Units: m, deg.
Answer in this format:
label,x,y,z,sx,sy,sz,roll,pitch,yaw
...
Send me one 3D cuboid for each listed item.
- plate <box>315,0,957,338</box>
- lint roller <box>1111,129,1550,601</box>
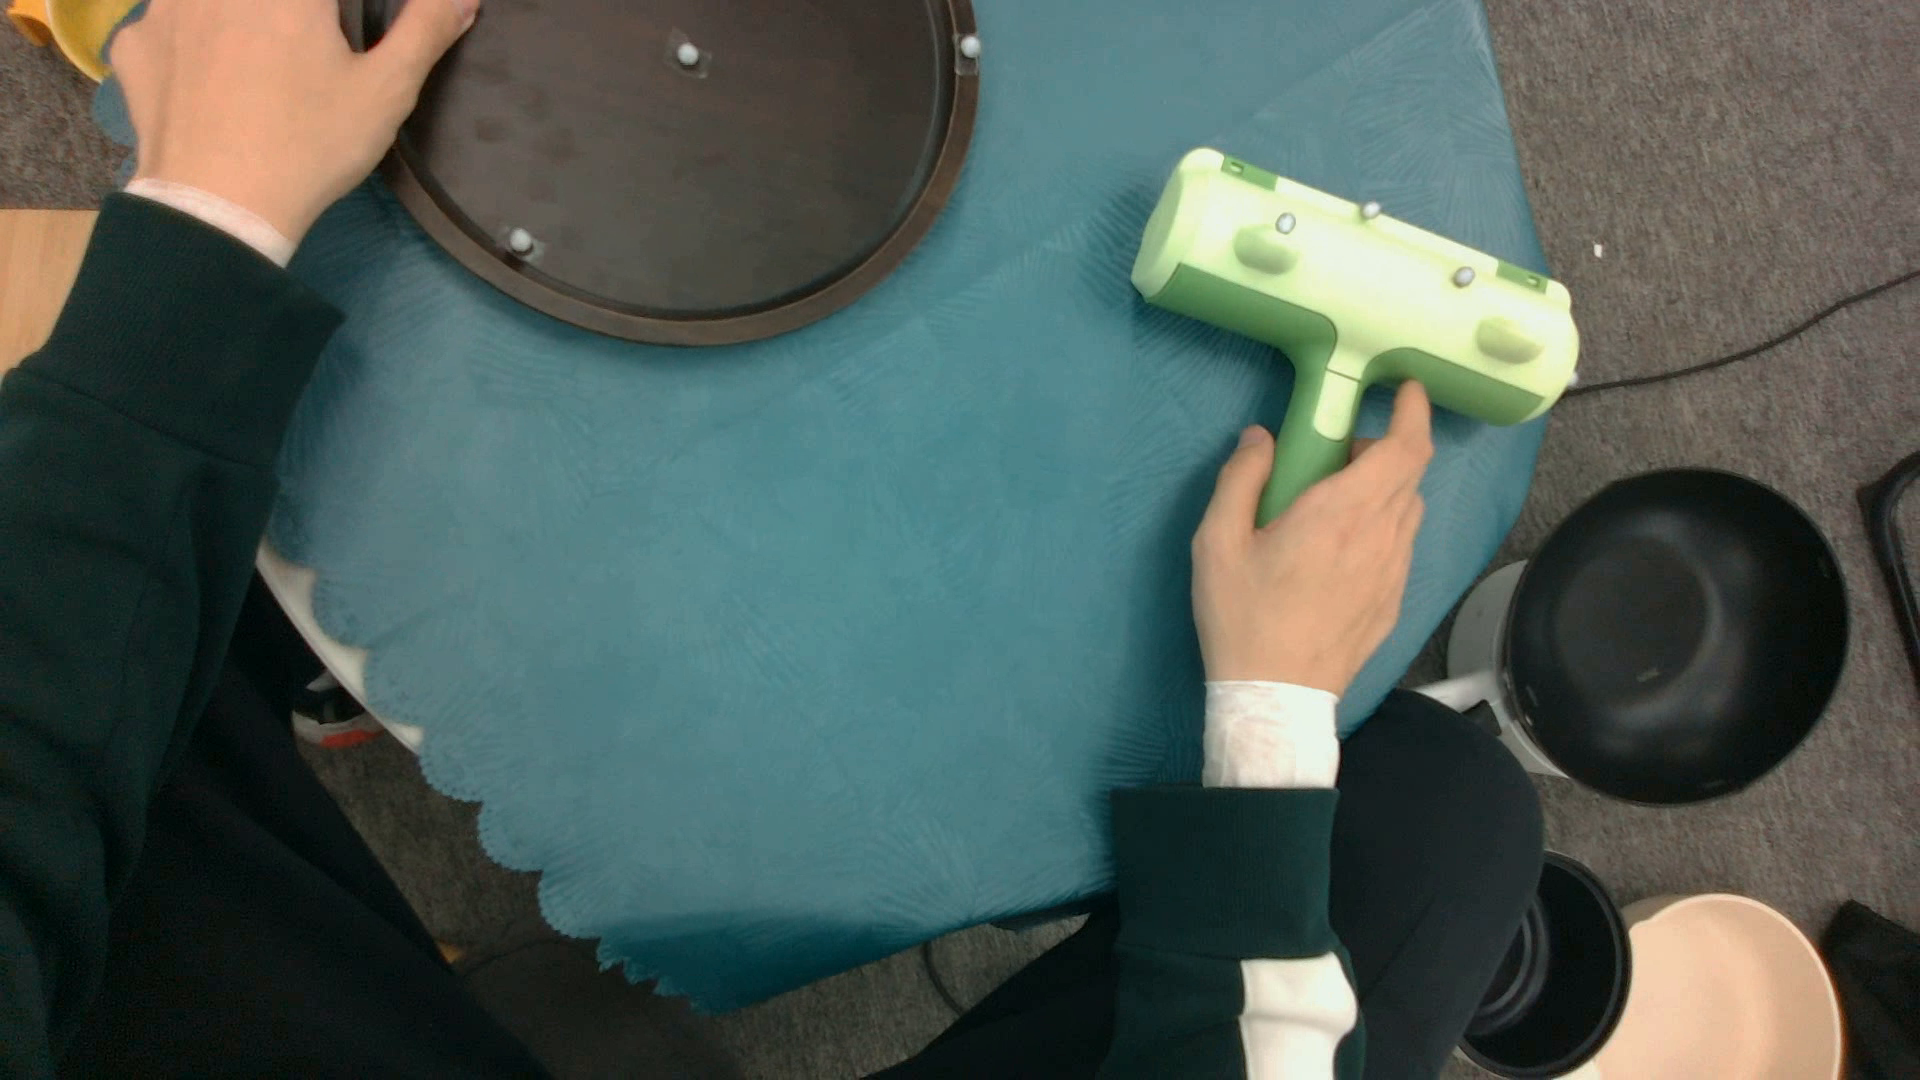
label,x,y,z,sx,sy,sz,roll,pitch,yaw
plate,-0.126,-0.206,0.563,0.255,0.029,0.255,2,84,-16
lint roller,0.156,-0.065,0.593,0.199,0.082,0.184,17,77,-13
